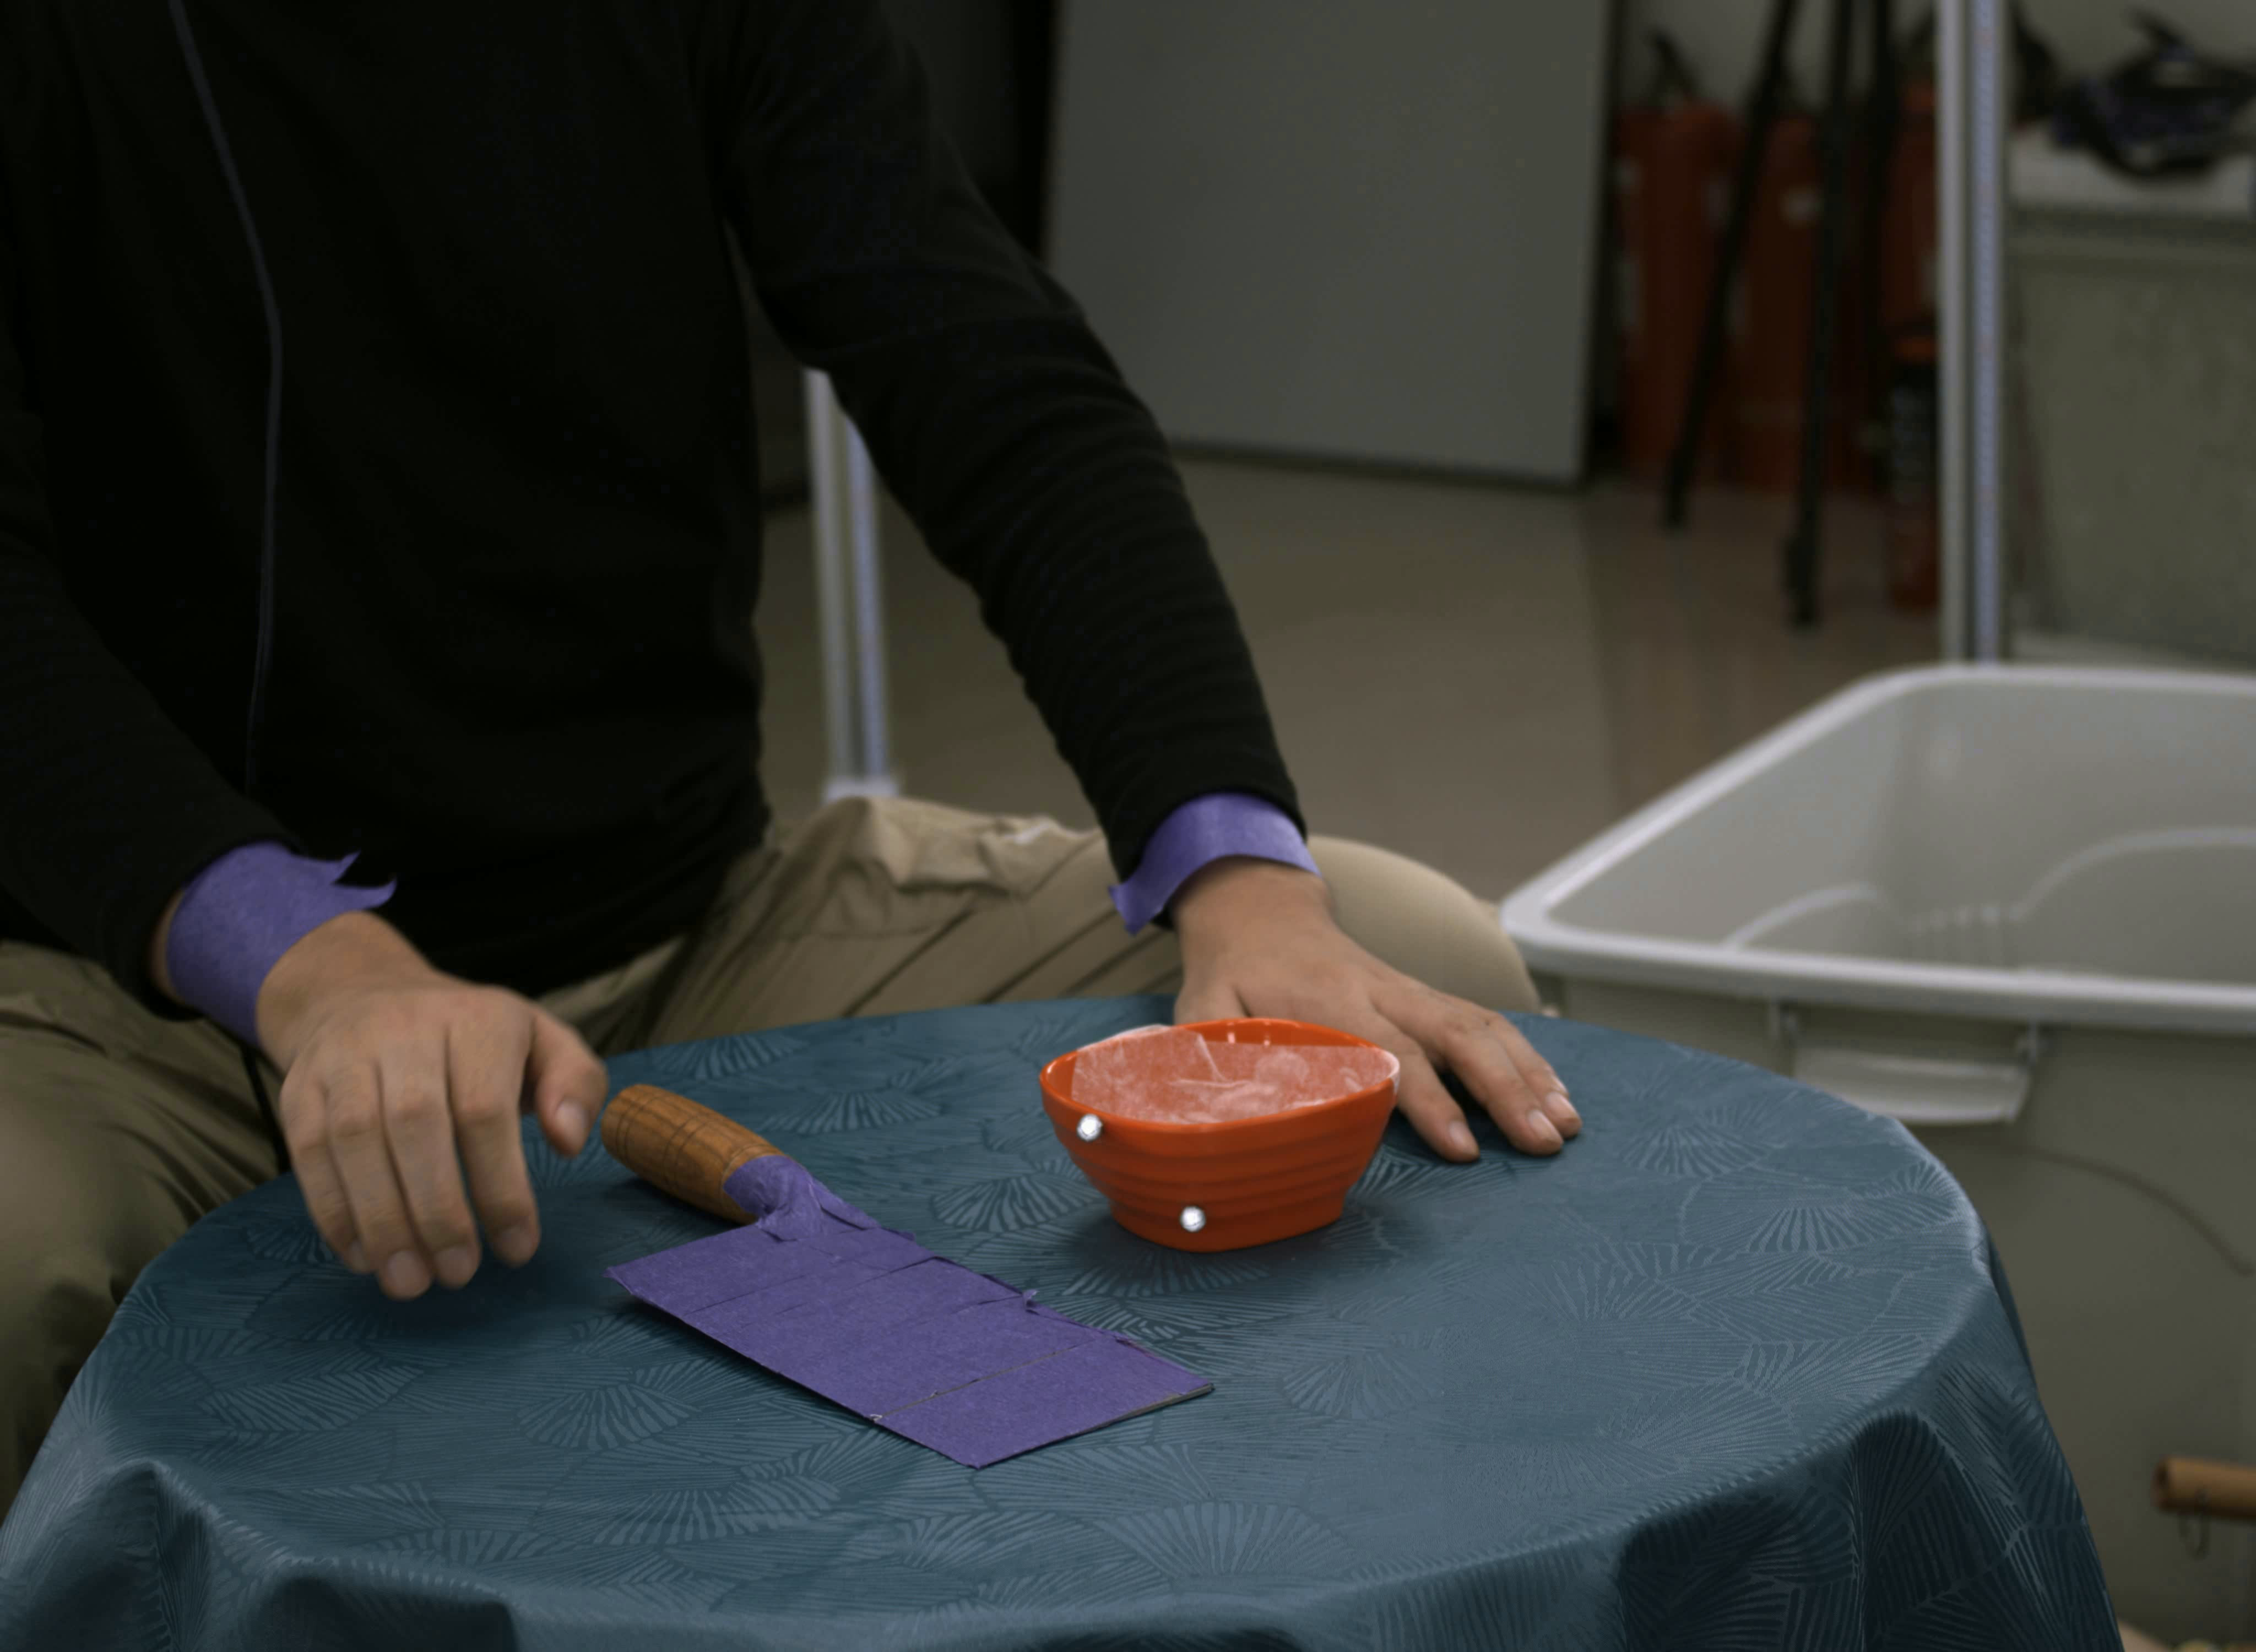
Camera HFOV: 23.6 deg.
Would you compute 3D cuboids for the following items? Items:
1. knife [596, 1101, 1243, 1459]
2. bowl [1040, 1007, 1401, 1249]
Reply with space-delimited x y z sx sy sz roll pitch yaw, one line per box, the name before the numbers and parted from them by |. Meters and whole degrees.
knife | -0.097 0.138 1.680 0.101 0.032 0.318 -13 17 -34
bowl | 0.031 0.099 1.736 0.117 0.052 0.119 -4 15 0
